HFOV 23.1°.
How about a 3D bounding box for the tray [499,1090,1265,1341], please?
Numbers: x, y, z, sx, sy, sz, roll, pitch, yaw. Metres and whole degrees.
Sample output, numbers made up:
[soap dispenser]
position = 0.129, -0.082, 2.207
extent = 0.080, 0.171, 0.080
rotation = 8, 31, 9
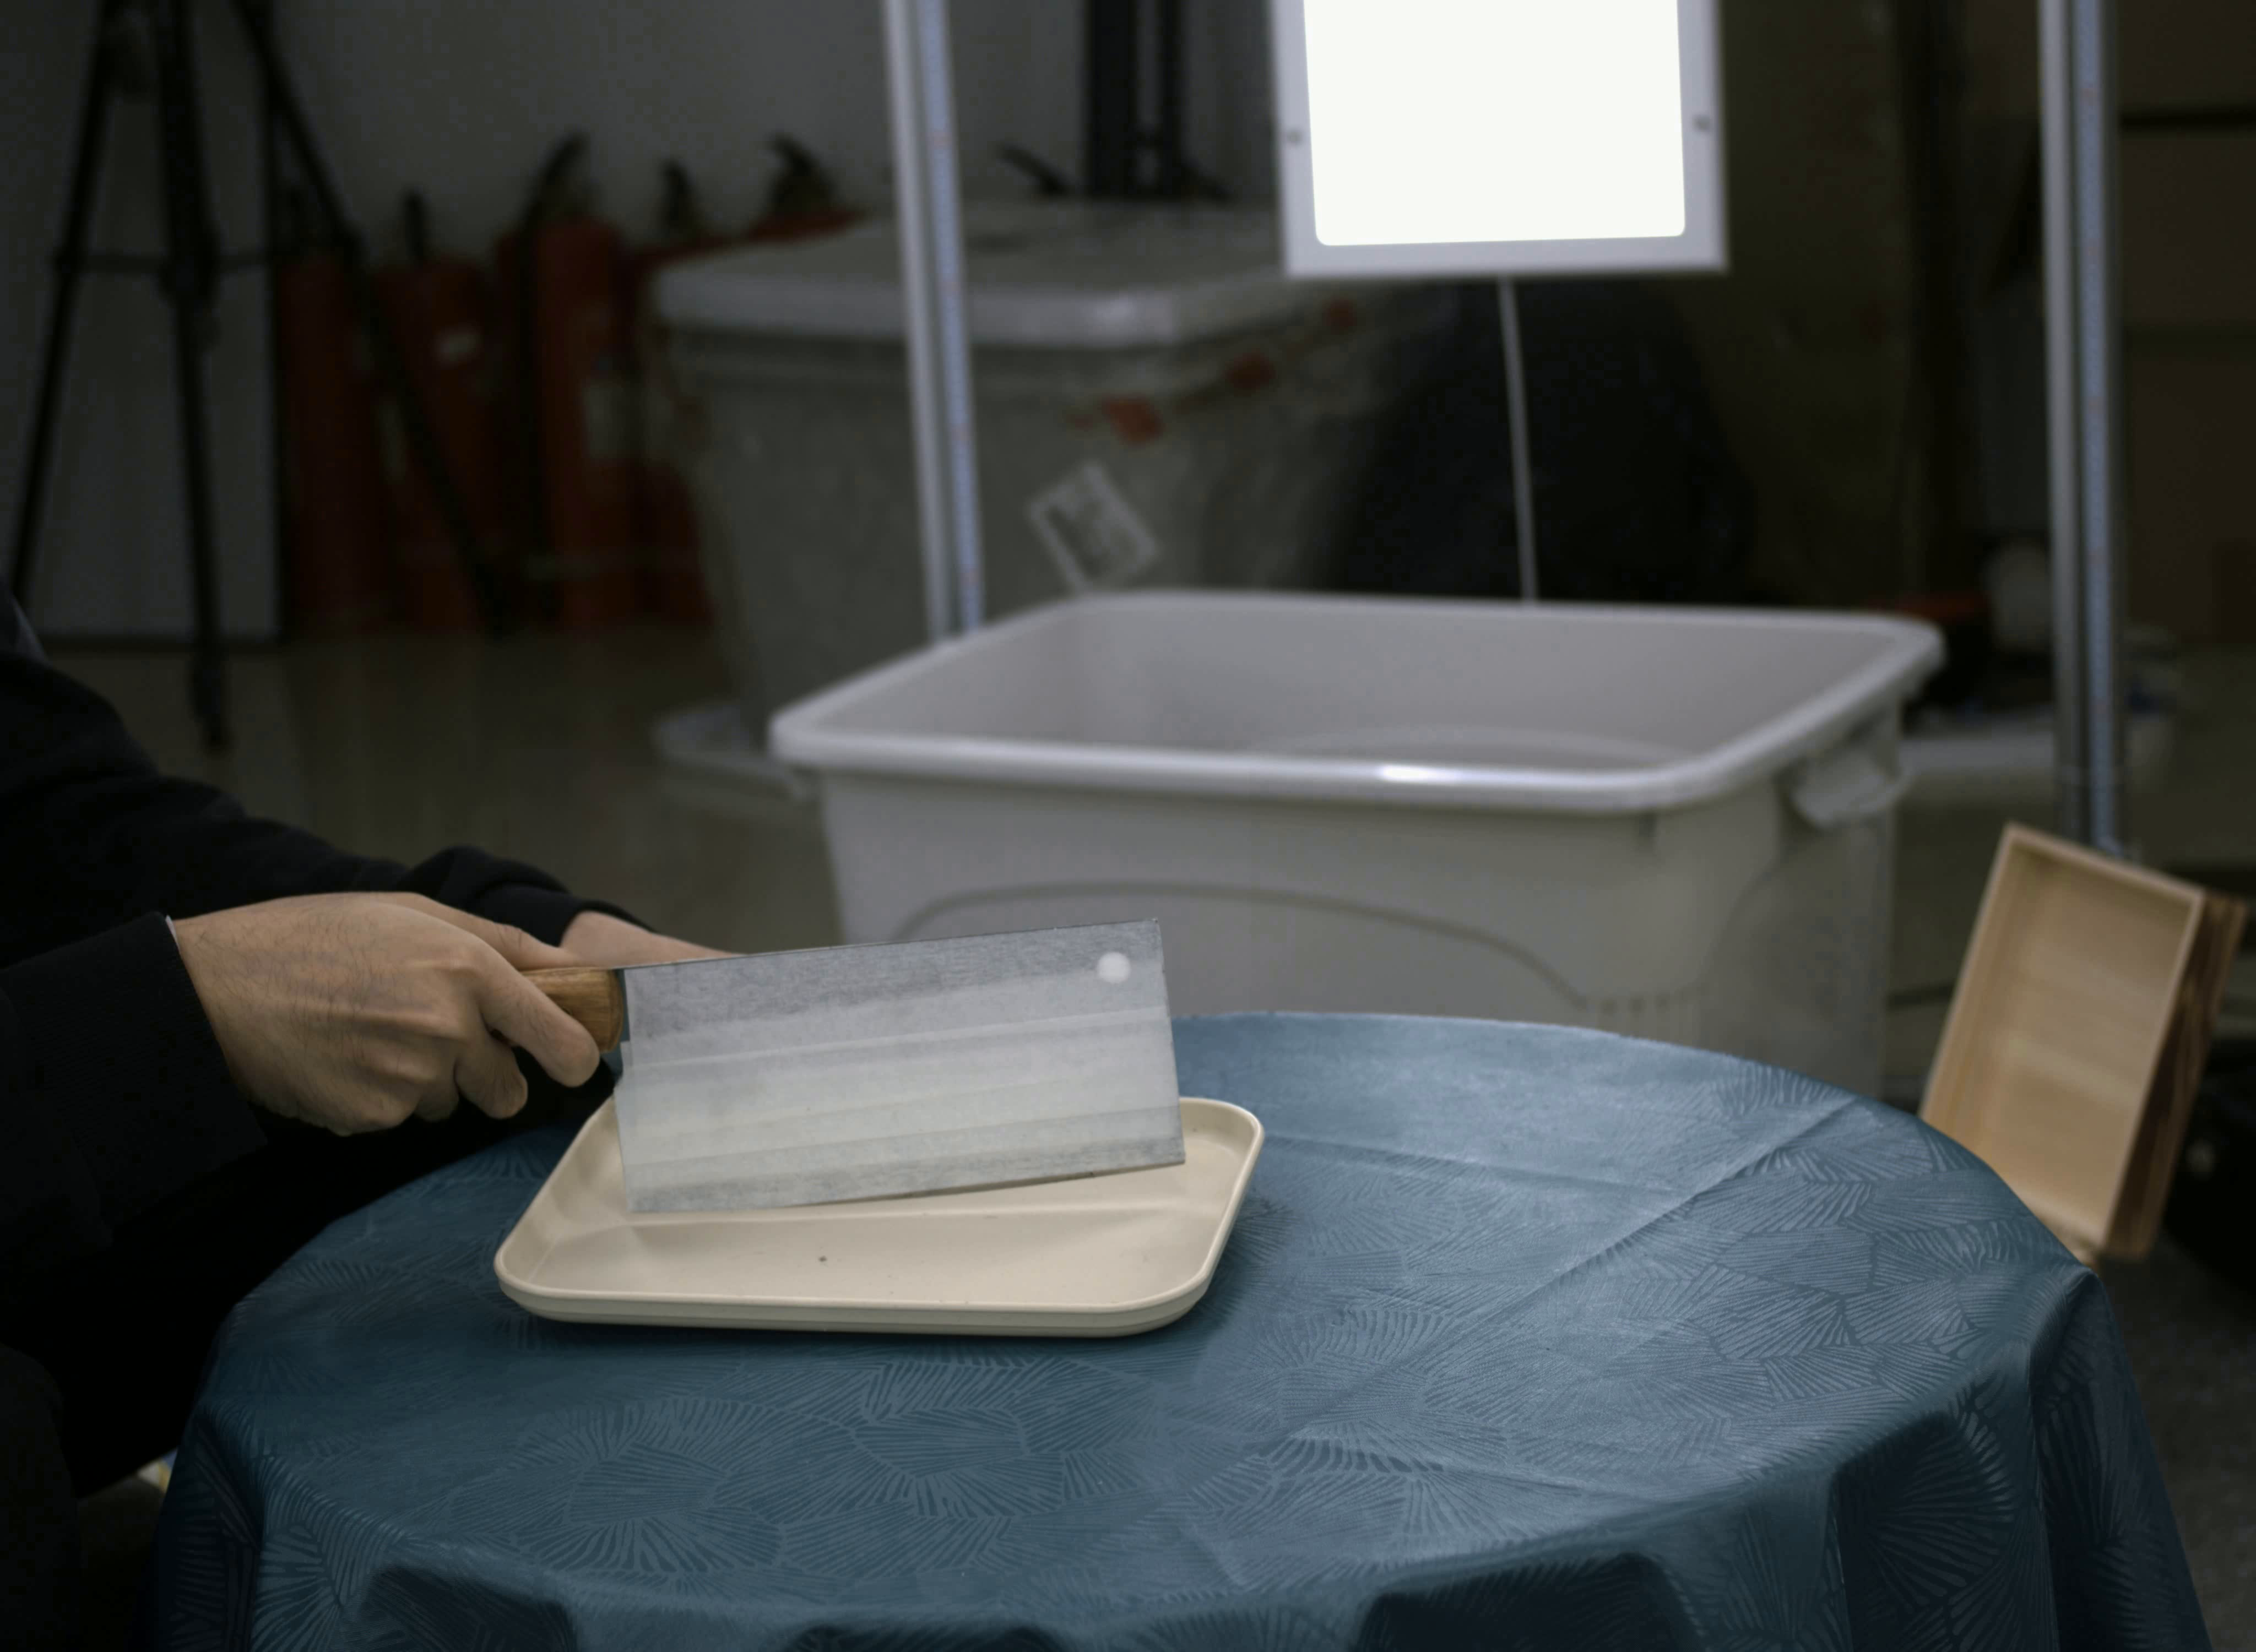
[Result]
[tray]
position = -0.079, 0.129, 1.837
extent = 0.241, 0.017, 0.169
rotation = 0, 22, 13

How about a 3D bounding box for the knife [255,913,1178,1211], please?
[knife]
position = -0.136, 0.084, 1.840
extent = 0.306, 0.093, 0.021
rotation = -5, 20, 7
